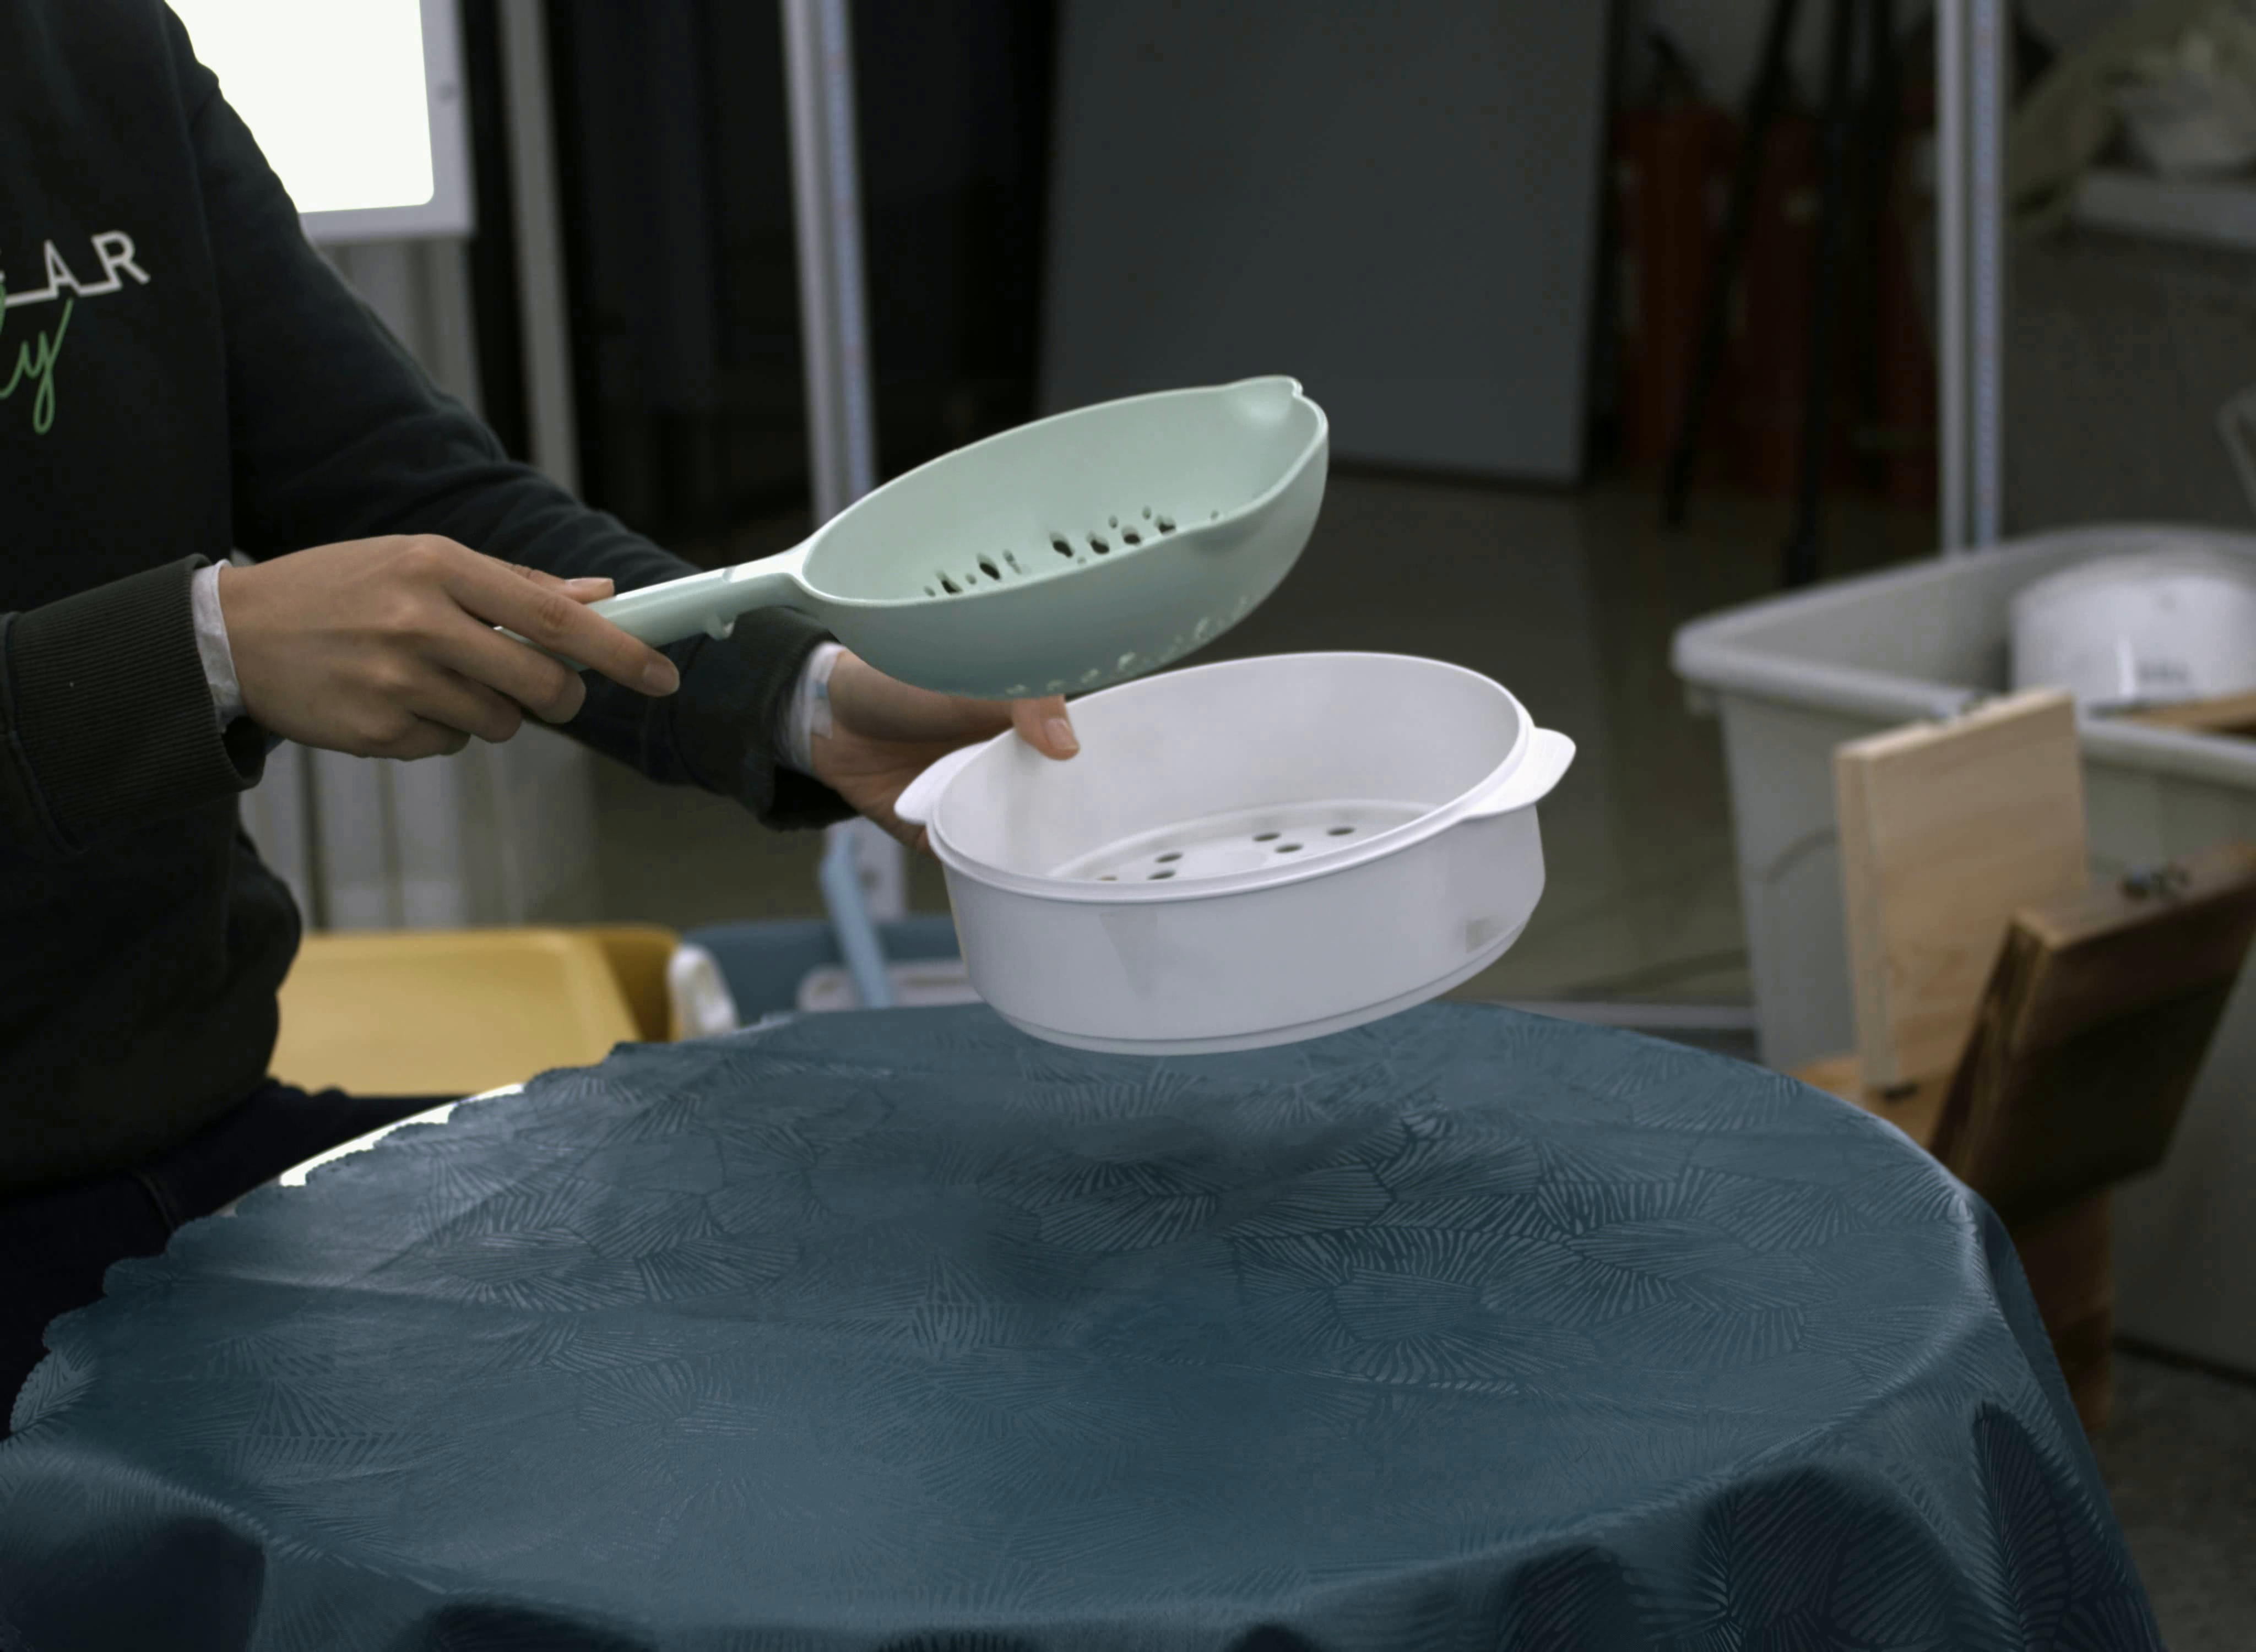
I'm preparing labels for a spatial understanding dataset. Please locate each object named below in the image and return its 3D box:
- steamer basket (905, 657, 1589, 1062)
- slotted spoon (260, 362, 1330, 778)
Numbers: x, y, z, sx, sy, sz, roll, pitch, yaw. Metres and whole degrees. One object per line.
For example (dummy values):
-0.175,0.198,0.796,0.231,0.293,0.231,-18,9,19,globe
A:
0.041,0.010,1.748,0.231,0.070,0.200,-2,21,24,steamer basket
-0.108,-0.070,1.682,0.356,0.076,0.169,-7,20,10,slotted spoon
